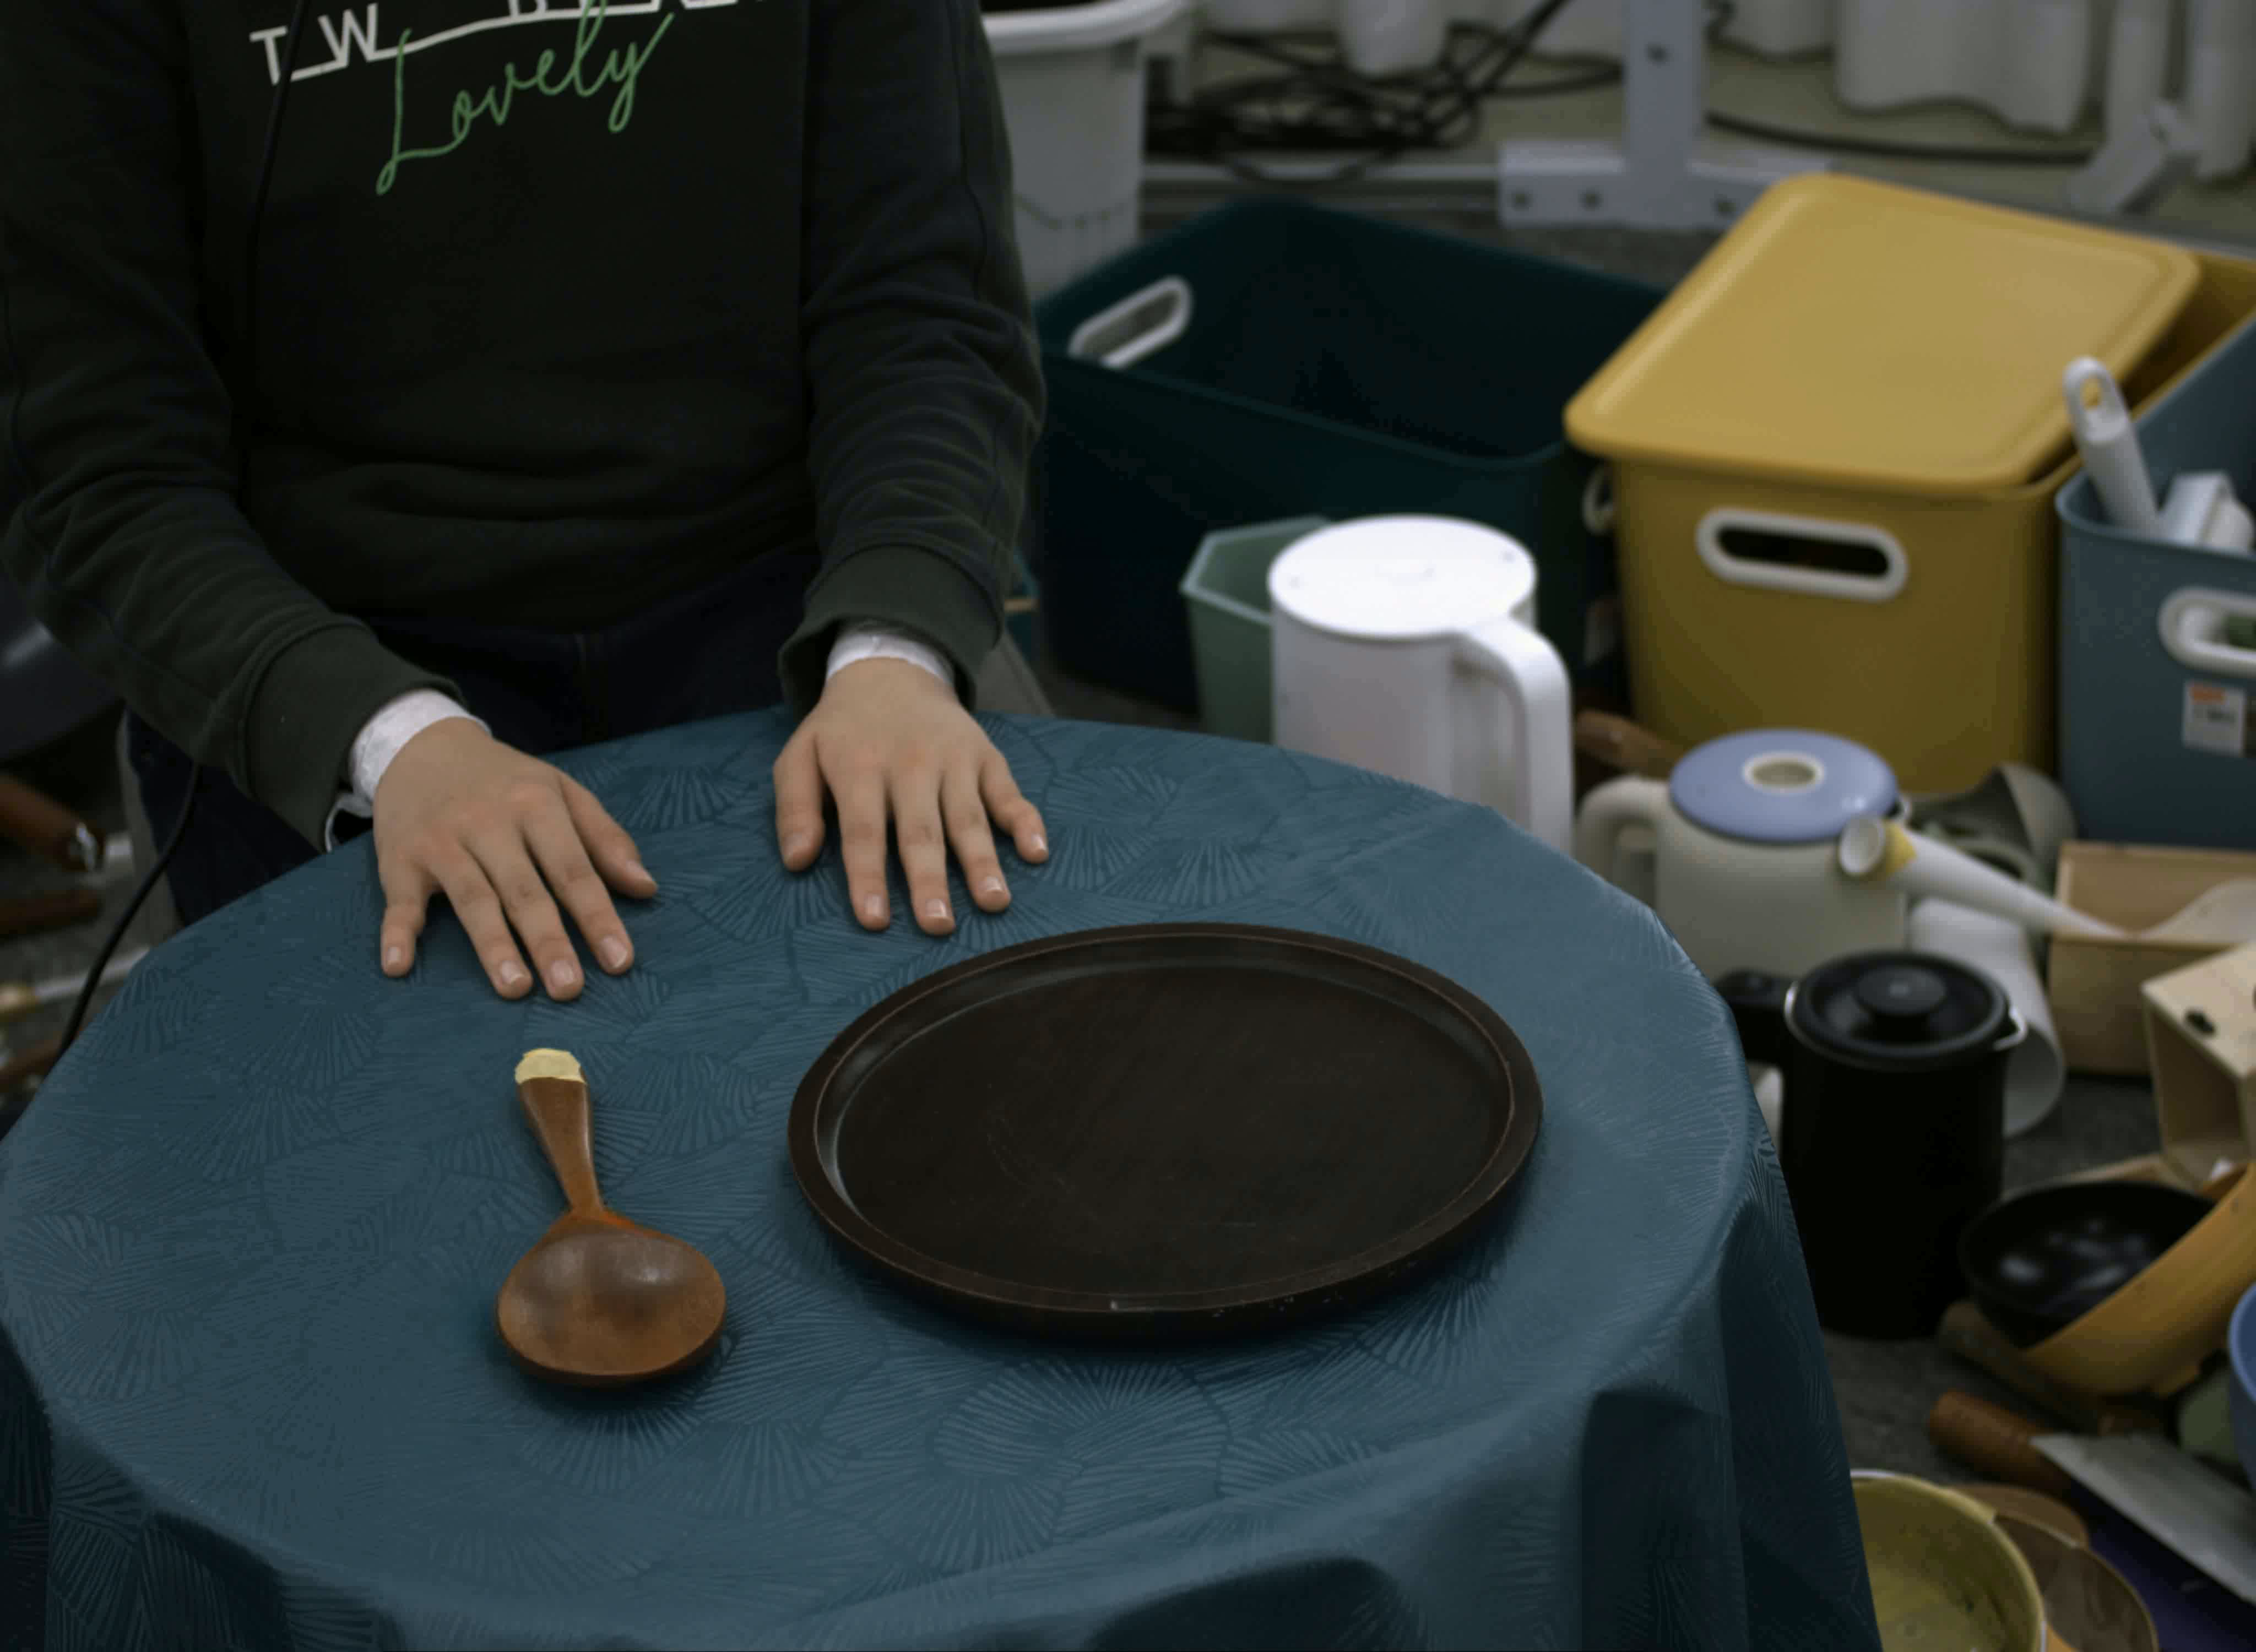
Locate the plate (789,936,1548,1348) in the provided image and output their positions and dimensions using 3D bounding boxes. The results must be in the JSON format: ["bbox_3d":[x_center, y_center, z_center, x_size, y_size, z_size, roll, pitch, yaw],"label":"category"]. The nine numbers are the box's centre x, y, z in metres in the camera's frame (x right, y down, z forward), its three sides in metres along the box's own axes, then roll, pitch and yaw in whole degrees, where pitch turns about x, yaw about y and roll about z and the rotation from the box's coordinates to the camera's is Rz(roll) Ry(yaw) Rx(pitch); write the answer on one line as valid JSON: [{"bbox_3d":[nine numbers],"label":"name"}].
[{"bbox_3d":[0.013,0.103,1.873,0.253,0.029,0.259,-1,28,1],"label":"plate"}]

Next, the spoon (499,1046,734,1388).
[{"bbox_3d":[-0.177,0.129,1.846,0.075,0.017,0.218,-8,28,-10],"label":"spoon"}]
